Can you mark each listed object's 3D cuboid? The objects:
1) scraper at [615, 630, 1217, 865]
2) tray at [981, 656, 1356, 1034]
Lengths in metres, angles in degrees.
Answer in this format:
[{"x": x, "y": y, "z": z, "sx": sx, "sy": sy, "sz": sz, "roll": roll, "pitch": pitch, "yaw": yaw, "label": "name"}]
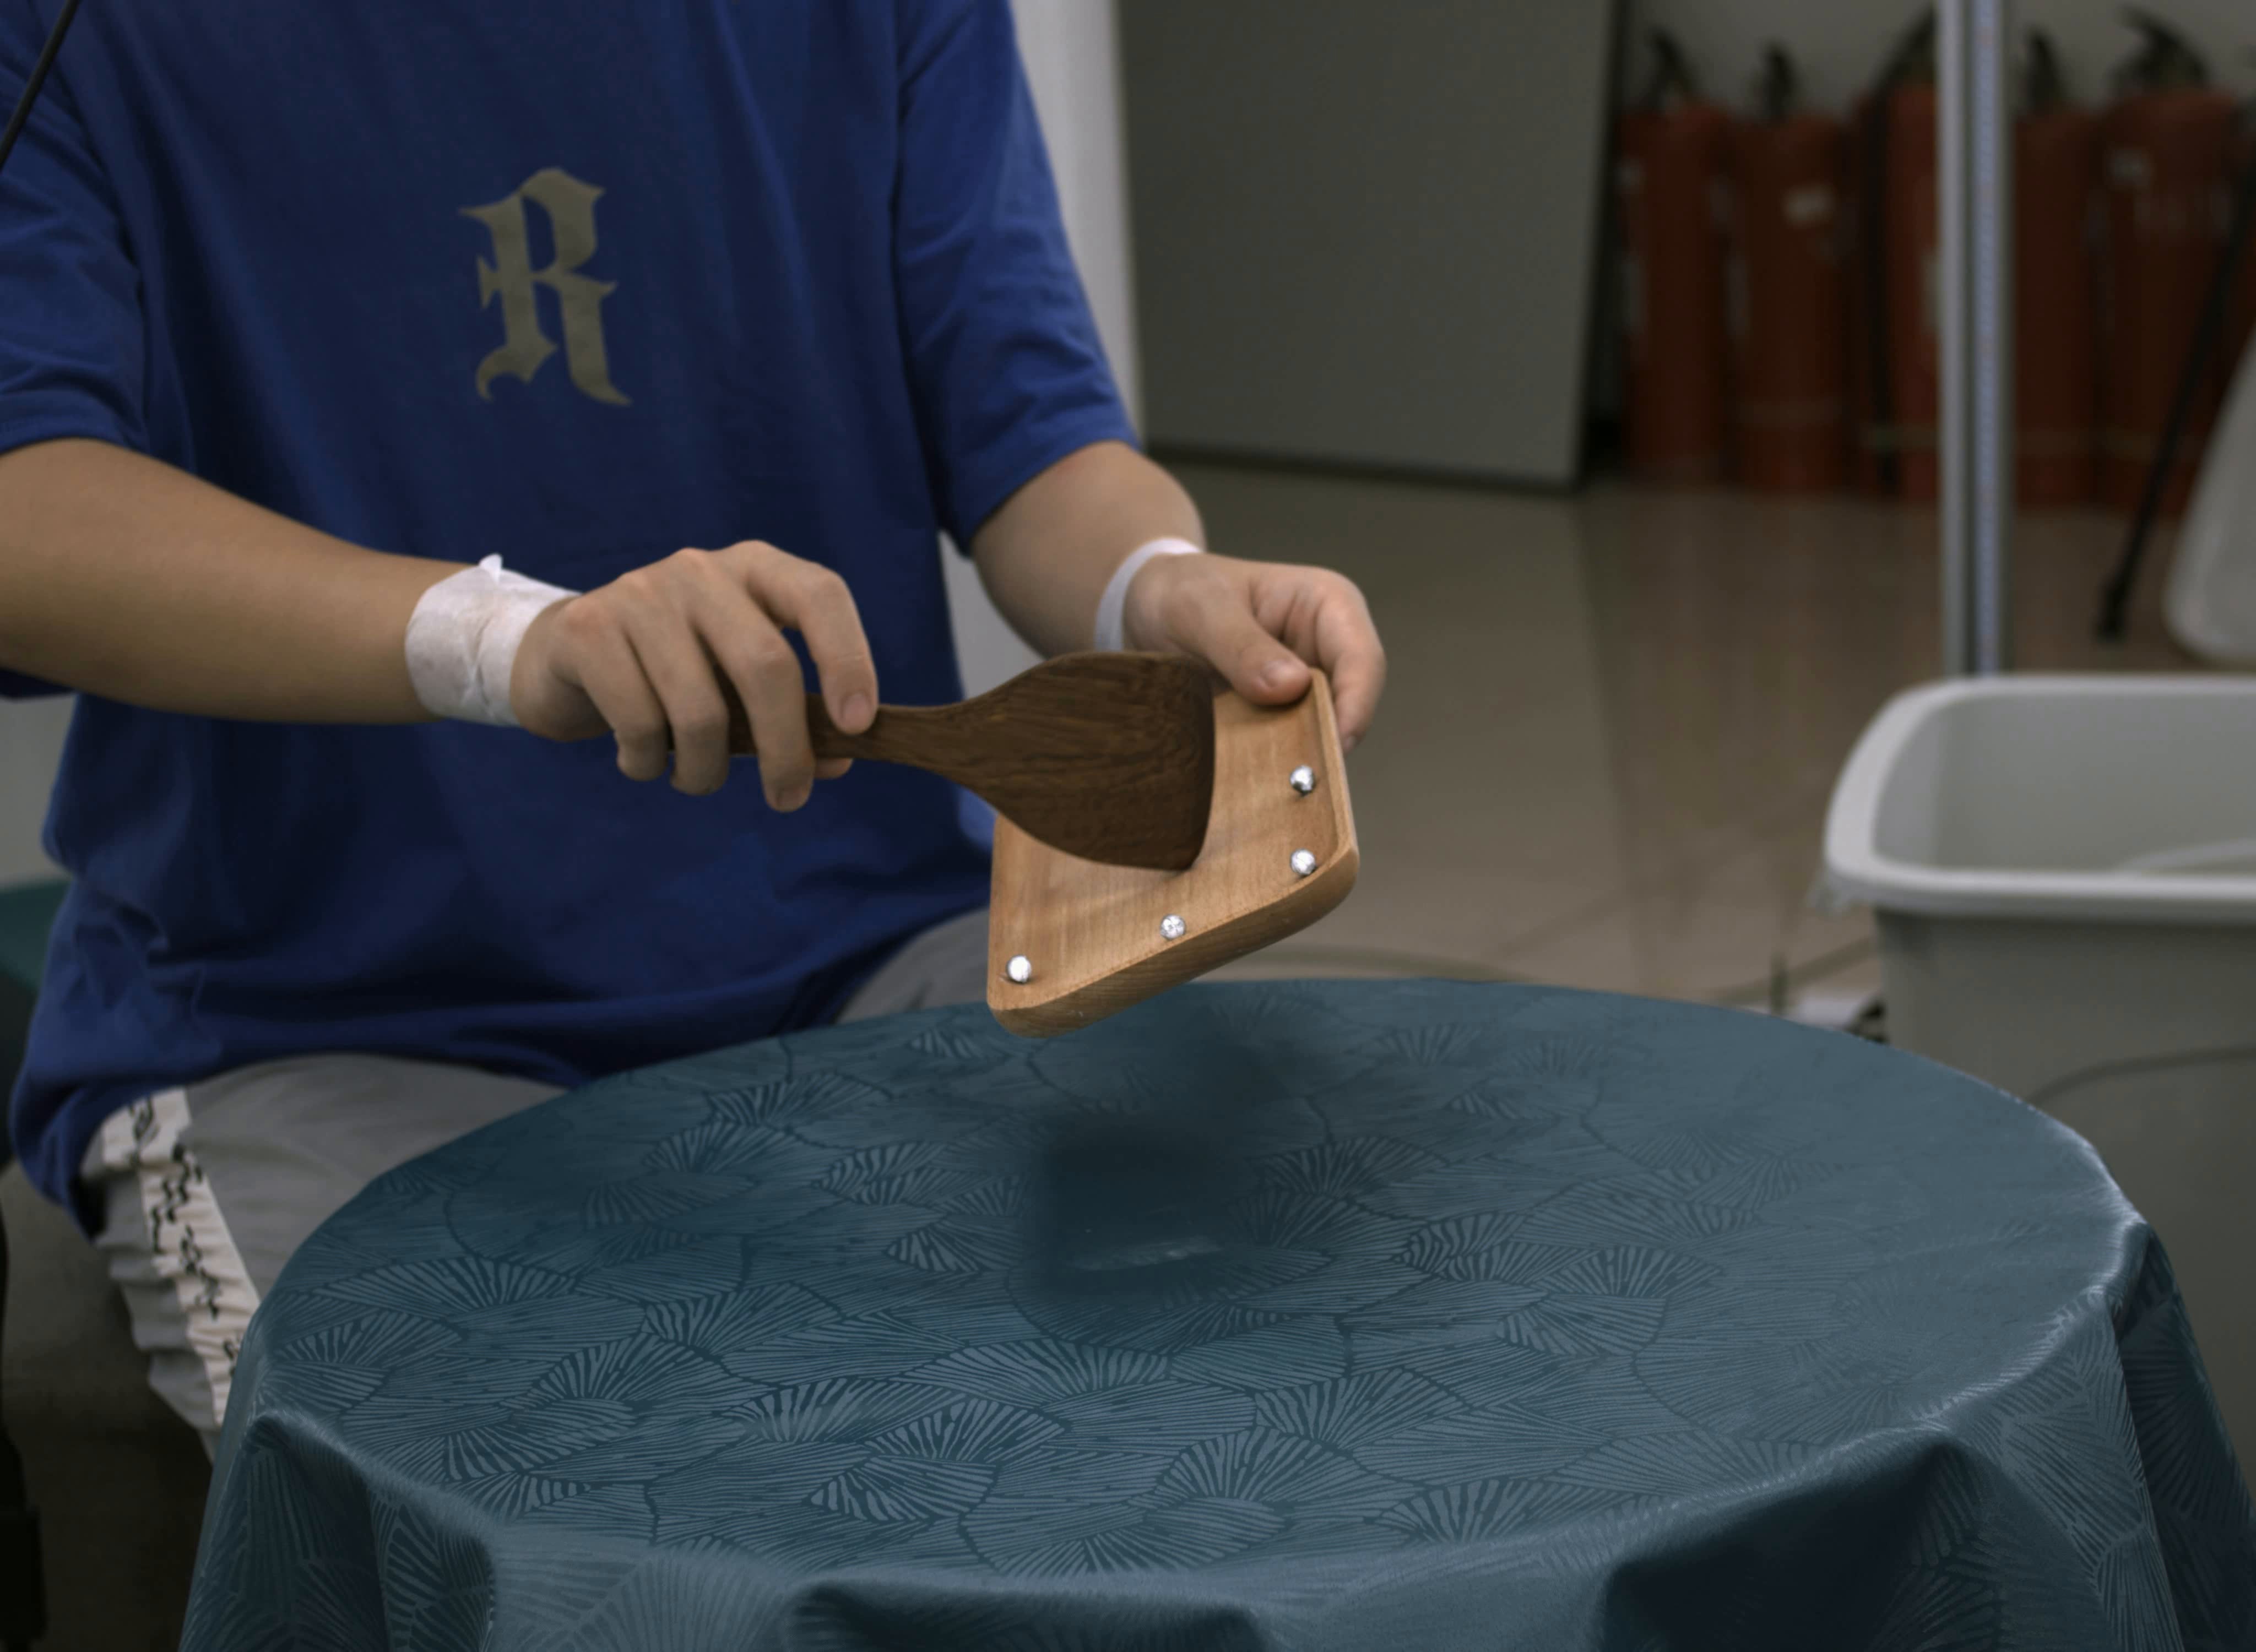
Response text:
[{"x": -0.071, "y": -0.032, "z": 1.759, "sx": 0.211, "sy": 0.077, "sz": 0.011, "roll": 5, "pitch": 16, "yaw": 20, "label": "scraper"}, {"x": 0.014, "y": 0.004, "z": 1.771, "sx": 0.130, "sy": 0.023, "sz": 0.251, "roll": -22, "pitch": 15, "yaw": 8, "label": "tray"}]
